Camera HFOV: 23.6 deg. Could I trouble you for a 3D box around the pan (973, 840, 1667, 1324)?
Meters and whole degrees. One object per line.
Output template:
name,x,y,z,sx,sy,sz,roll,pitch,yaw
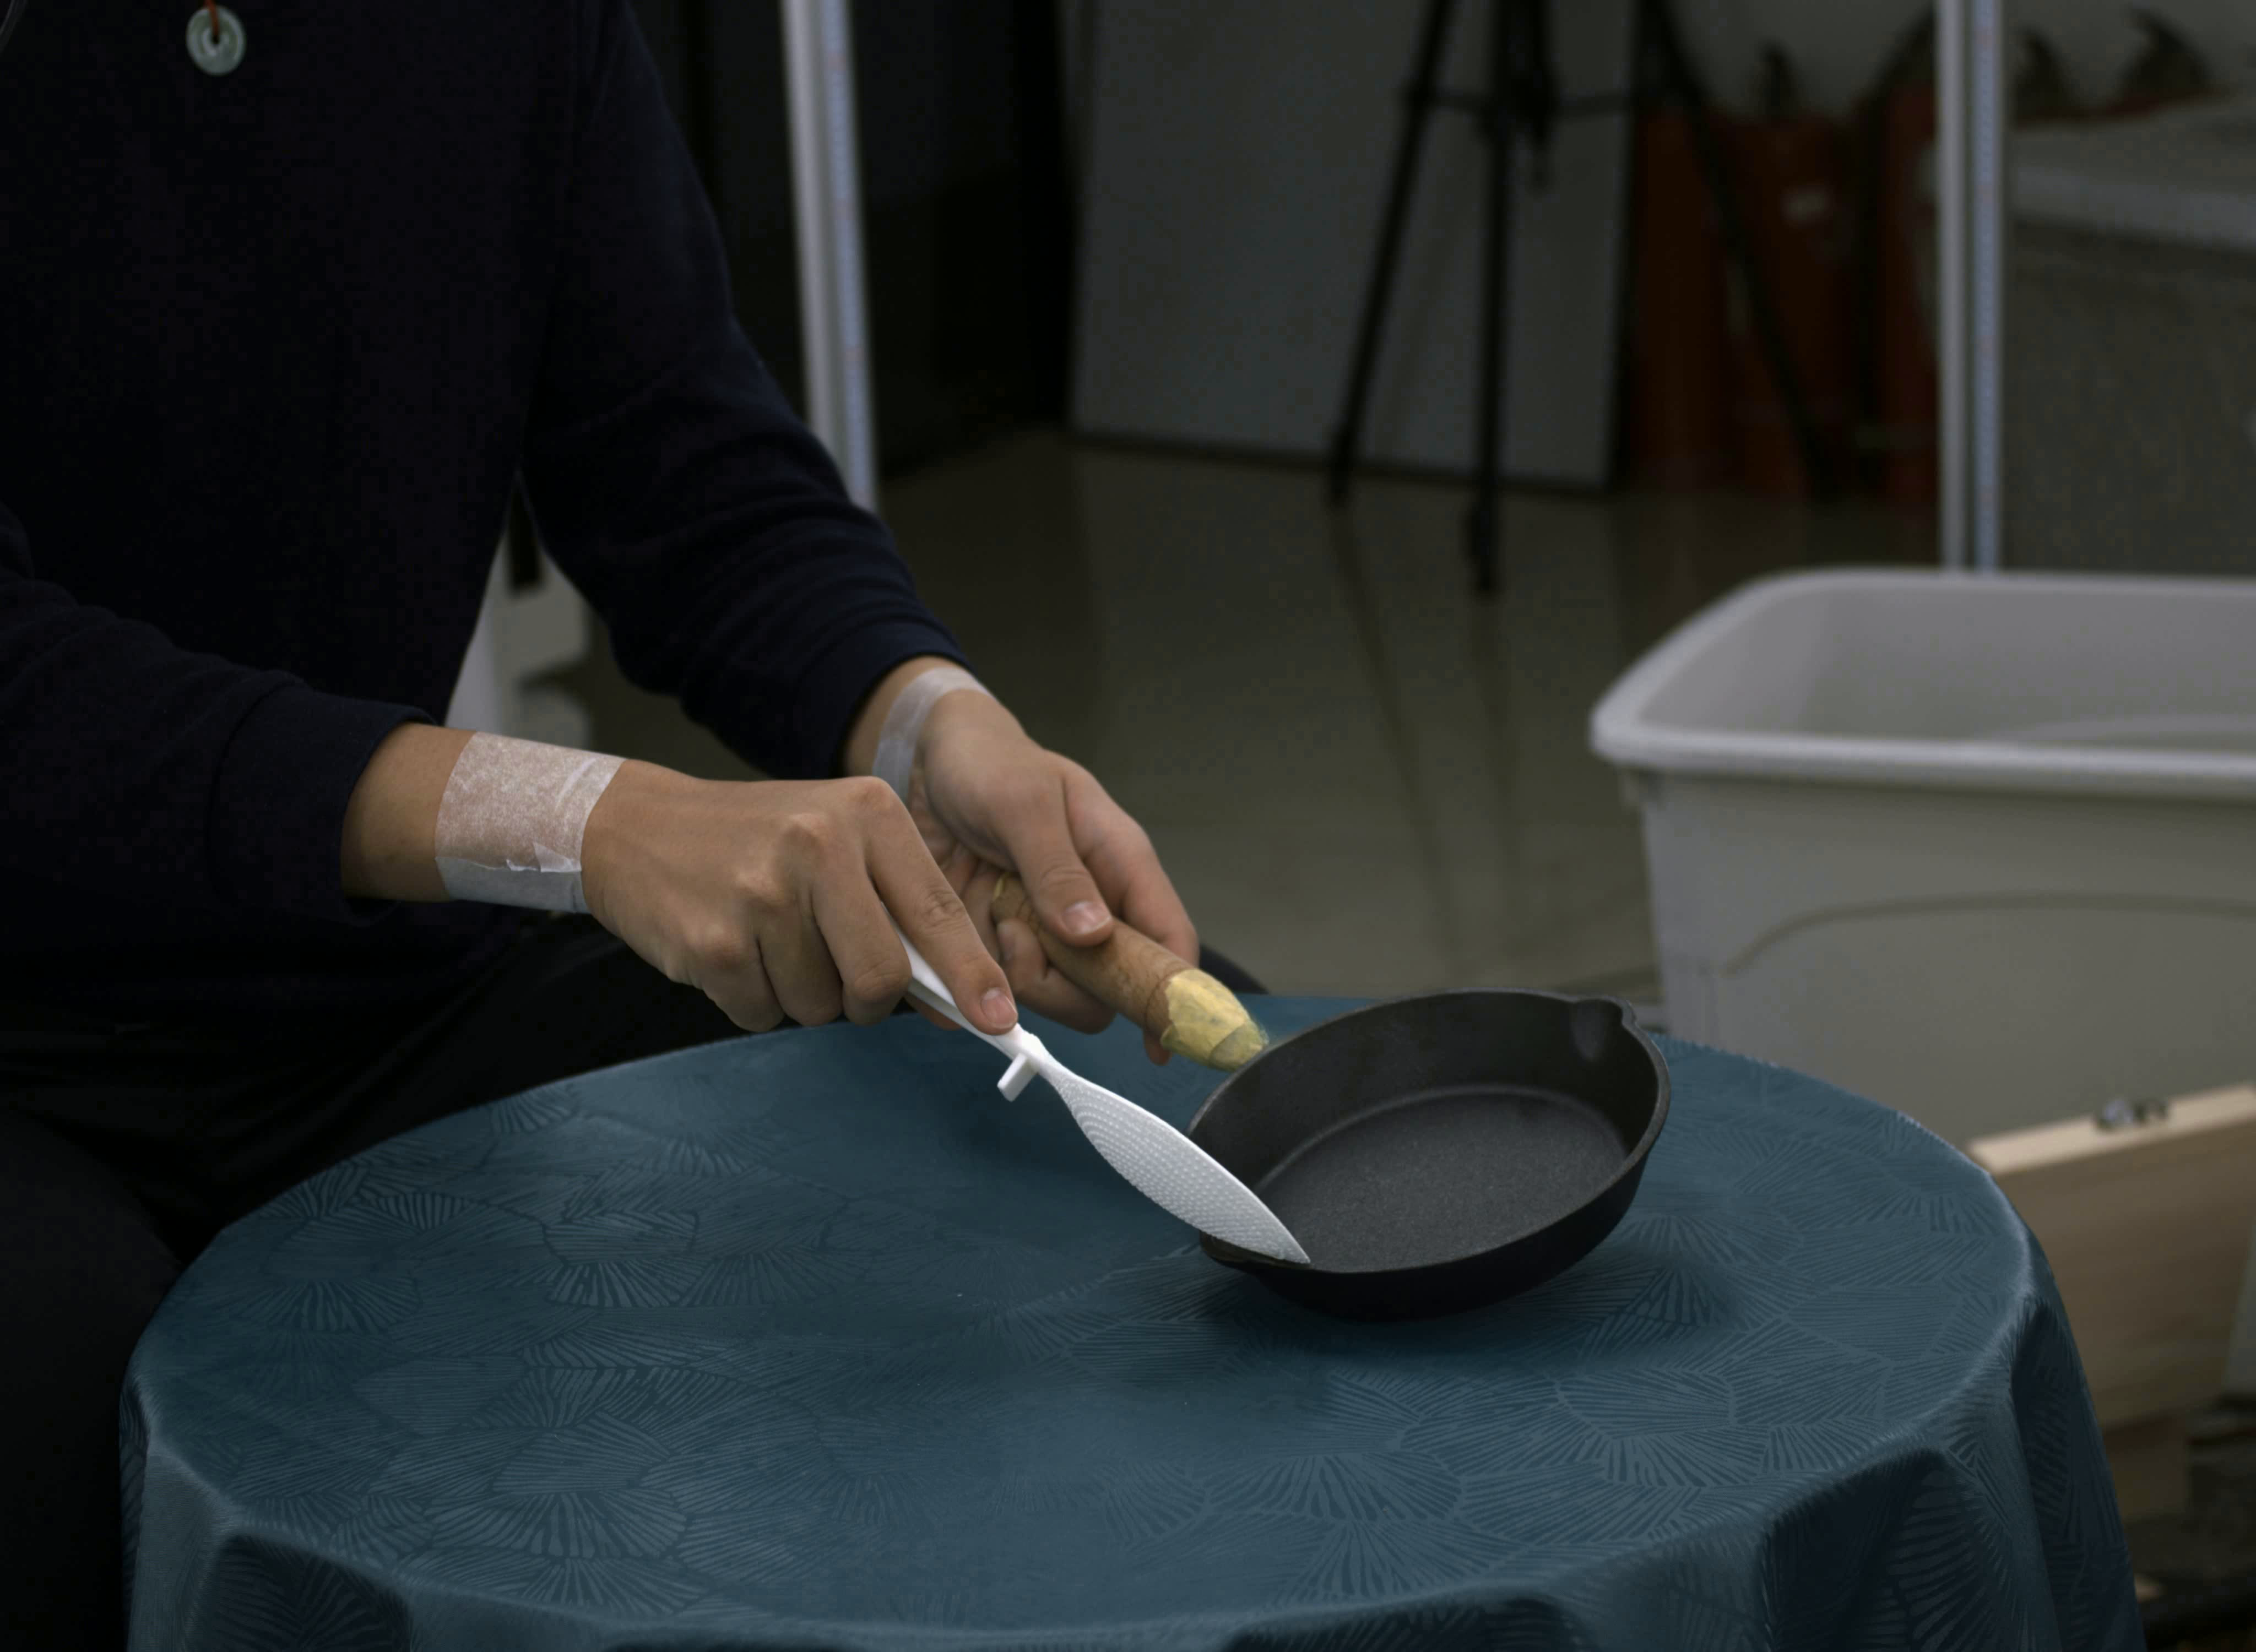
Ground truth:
pan,0.046,0.074,1.735,0.166,0.050,0.328,-28,31,-23

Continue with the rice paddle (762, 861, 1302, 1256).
rice paddle,-0.026,0.073,1.640,0.206,0.029,0.068,32,-12,25
